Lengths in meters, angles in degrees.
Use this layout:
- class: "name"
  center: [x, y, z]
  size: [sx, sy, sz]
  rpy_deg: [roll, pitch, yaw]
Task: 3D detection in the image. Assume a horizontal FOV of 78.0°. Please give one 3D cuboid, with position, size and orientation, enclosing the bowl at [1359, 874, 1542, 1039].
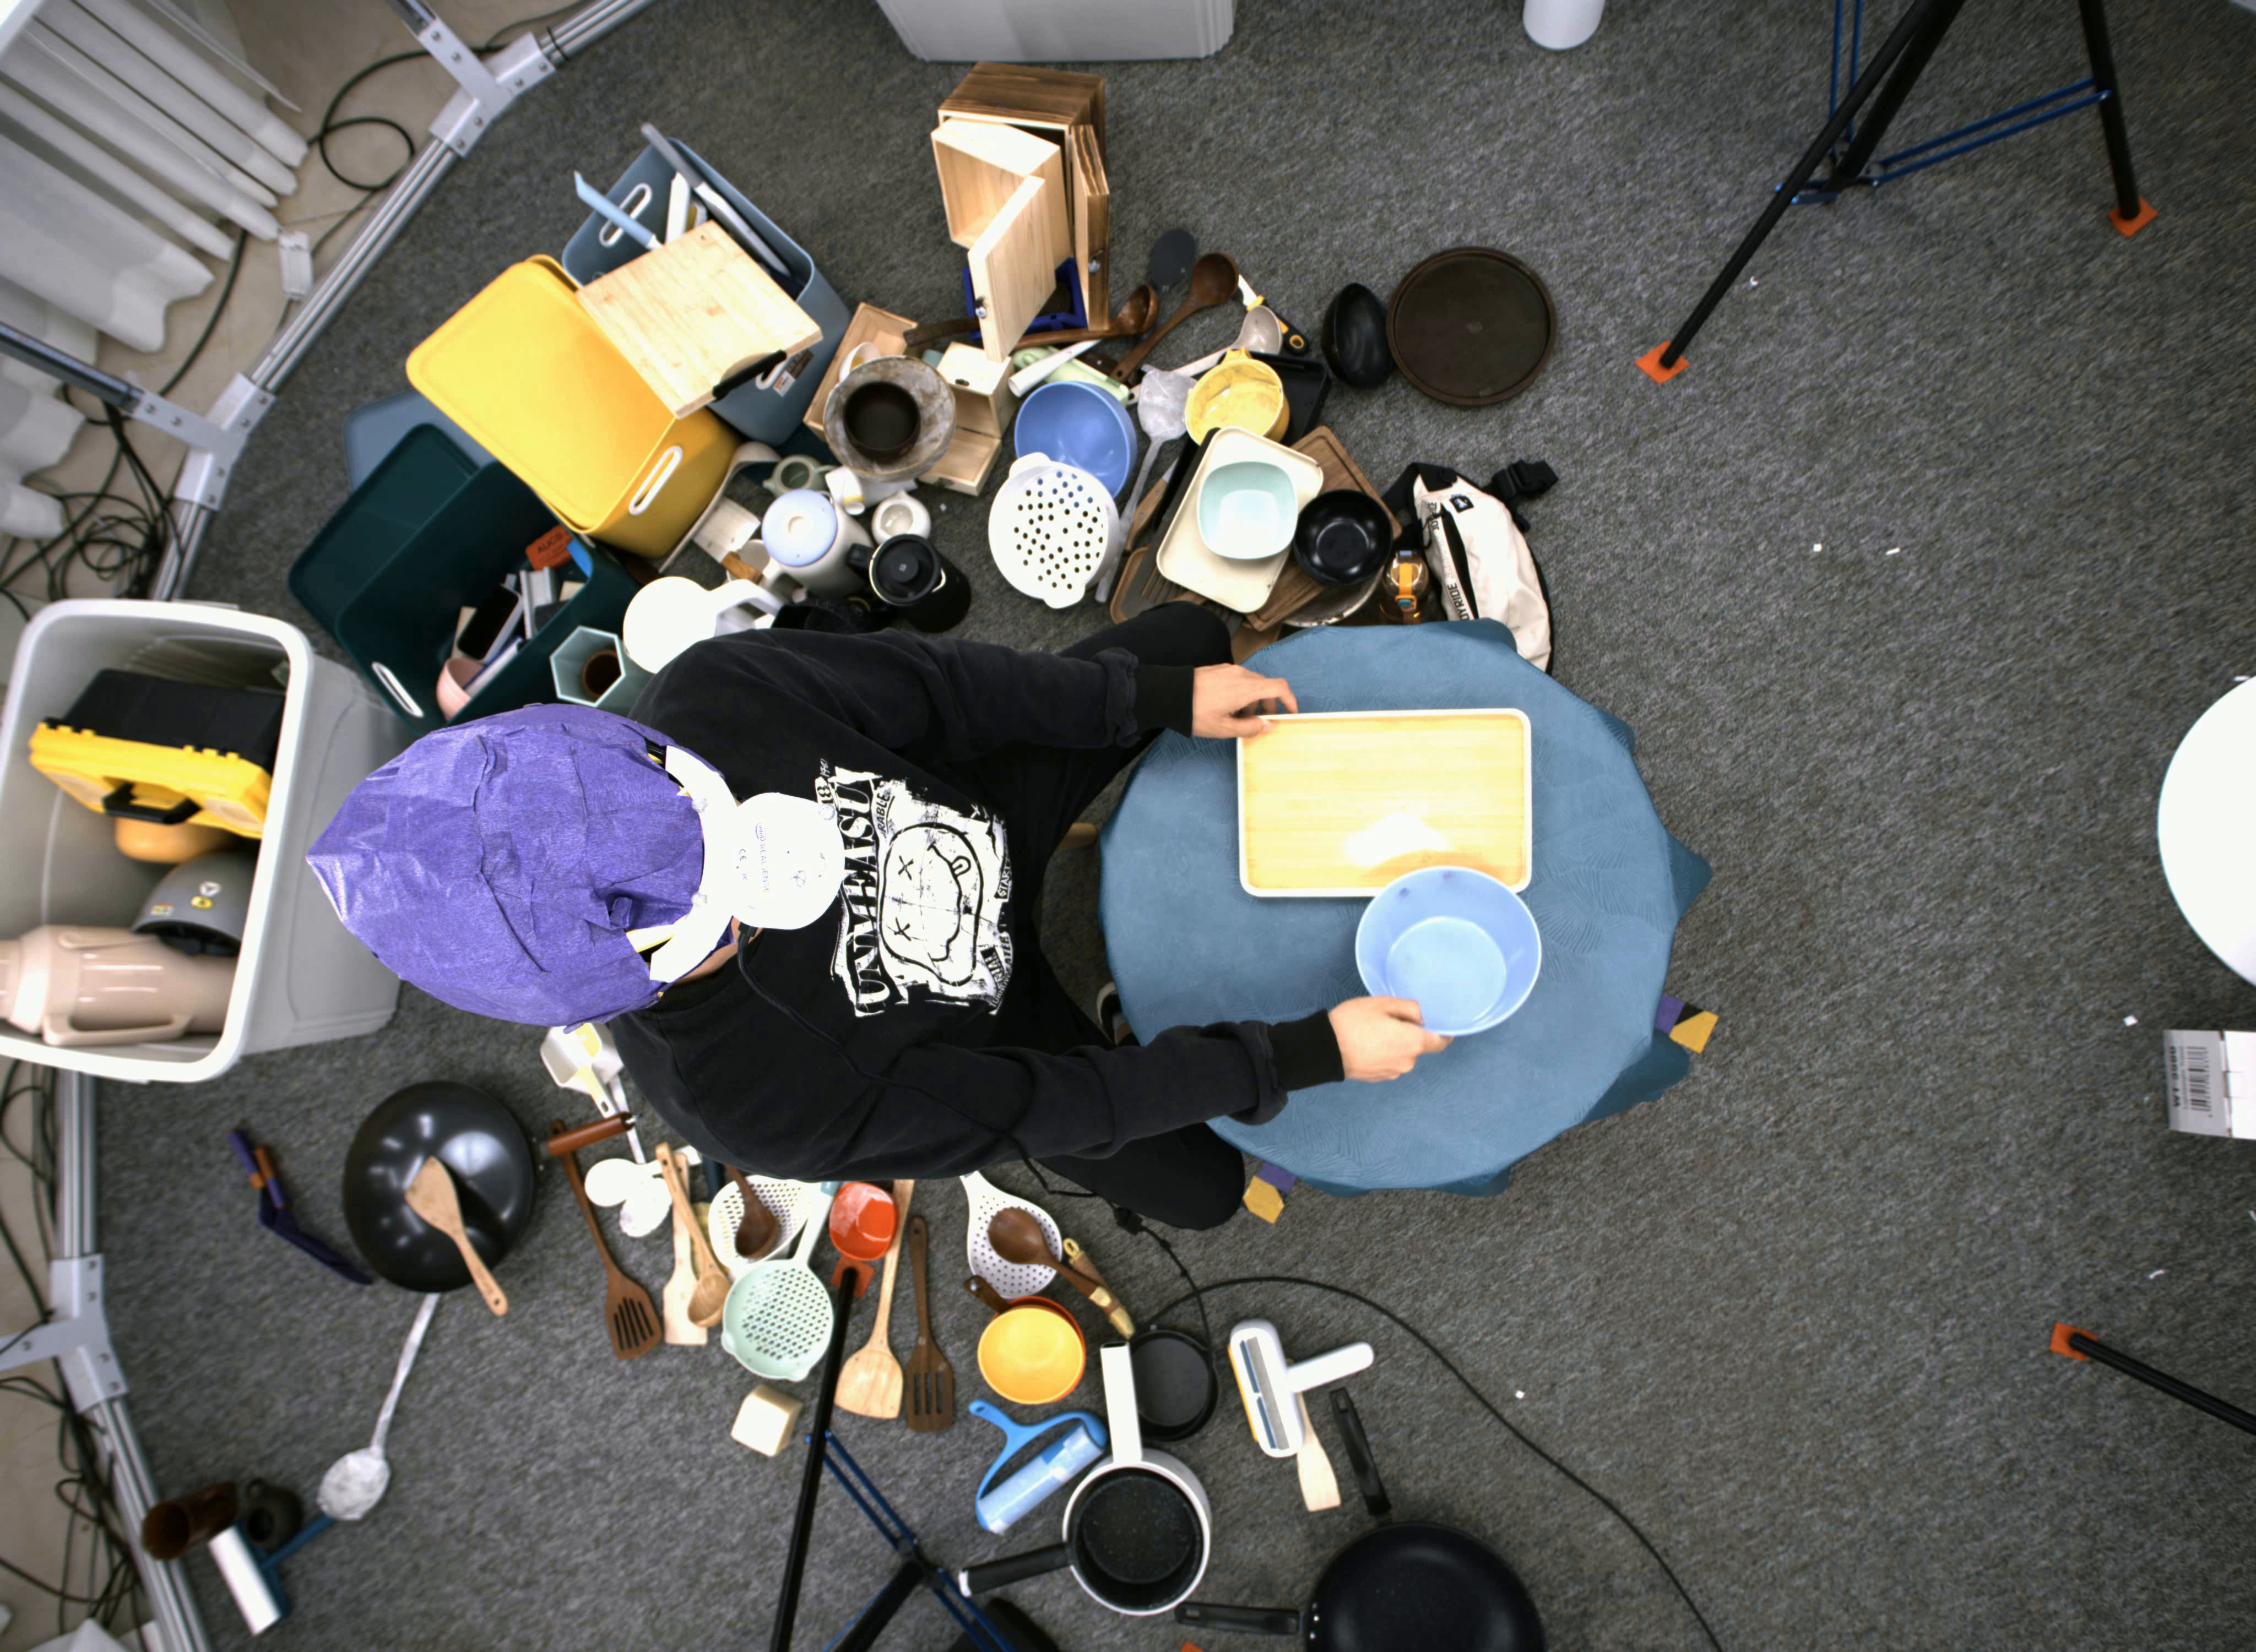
- class: "bowl"
  center: [0.317, 0.137, 1.365]
  size: [0.177, 0.071, 0.172]
  rpy_deg: [-4, 62, 8]

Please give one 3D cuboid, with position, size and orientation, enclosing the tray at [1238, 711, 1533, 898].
- class: "tray"
  center: [0.268, -0.023, 1.439]
  size: [0.301, 0.027, 0.192]
  rpy_deg: [-1, 96, 8]
